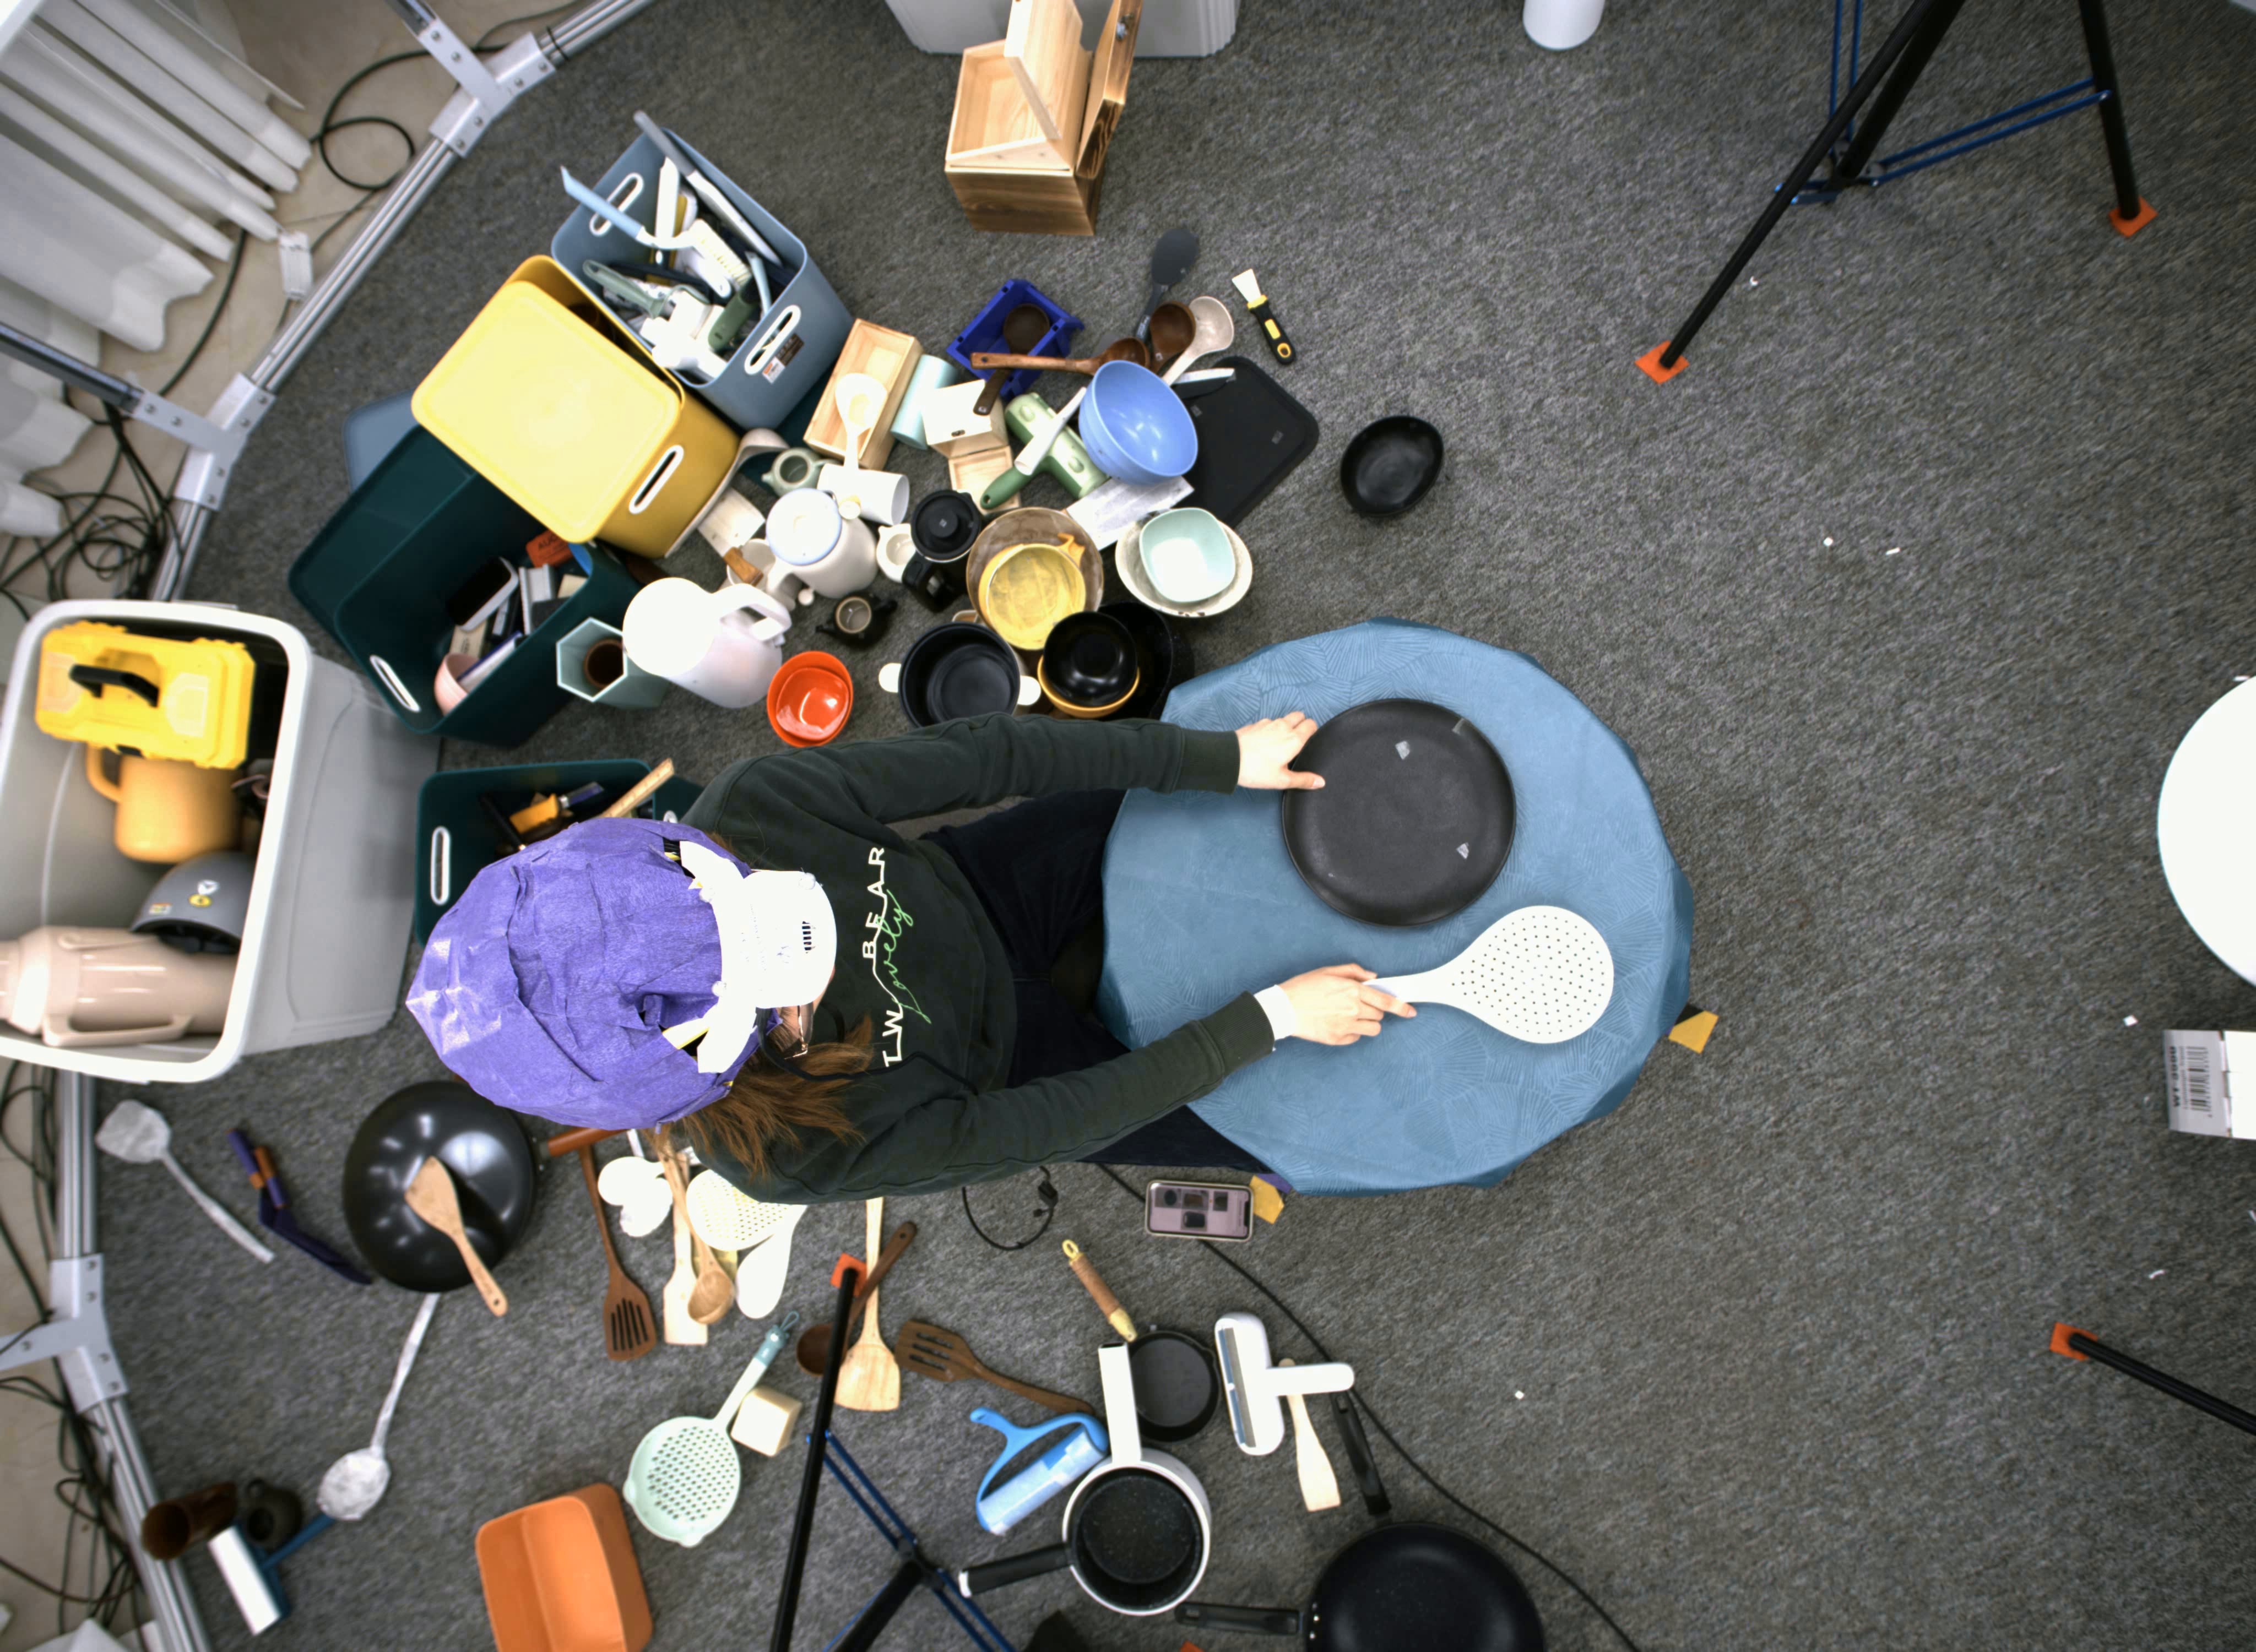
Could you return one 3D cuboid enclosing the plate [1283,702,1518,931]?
[{"bbox_3d":[0.287,-0.012,1.456,0.245,0.023,0.243,-1,86,11],"label":"plate"}]

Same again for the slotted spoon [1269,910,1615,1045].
[{"bbox_3d":[0.319,0.166,1.426,0.351,0.046,0.135,-7,82,11],"label":"slotted spoon"}]
